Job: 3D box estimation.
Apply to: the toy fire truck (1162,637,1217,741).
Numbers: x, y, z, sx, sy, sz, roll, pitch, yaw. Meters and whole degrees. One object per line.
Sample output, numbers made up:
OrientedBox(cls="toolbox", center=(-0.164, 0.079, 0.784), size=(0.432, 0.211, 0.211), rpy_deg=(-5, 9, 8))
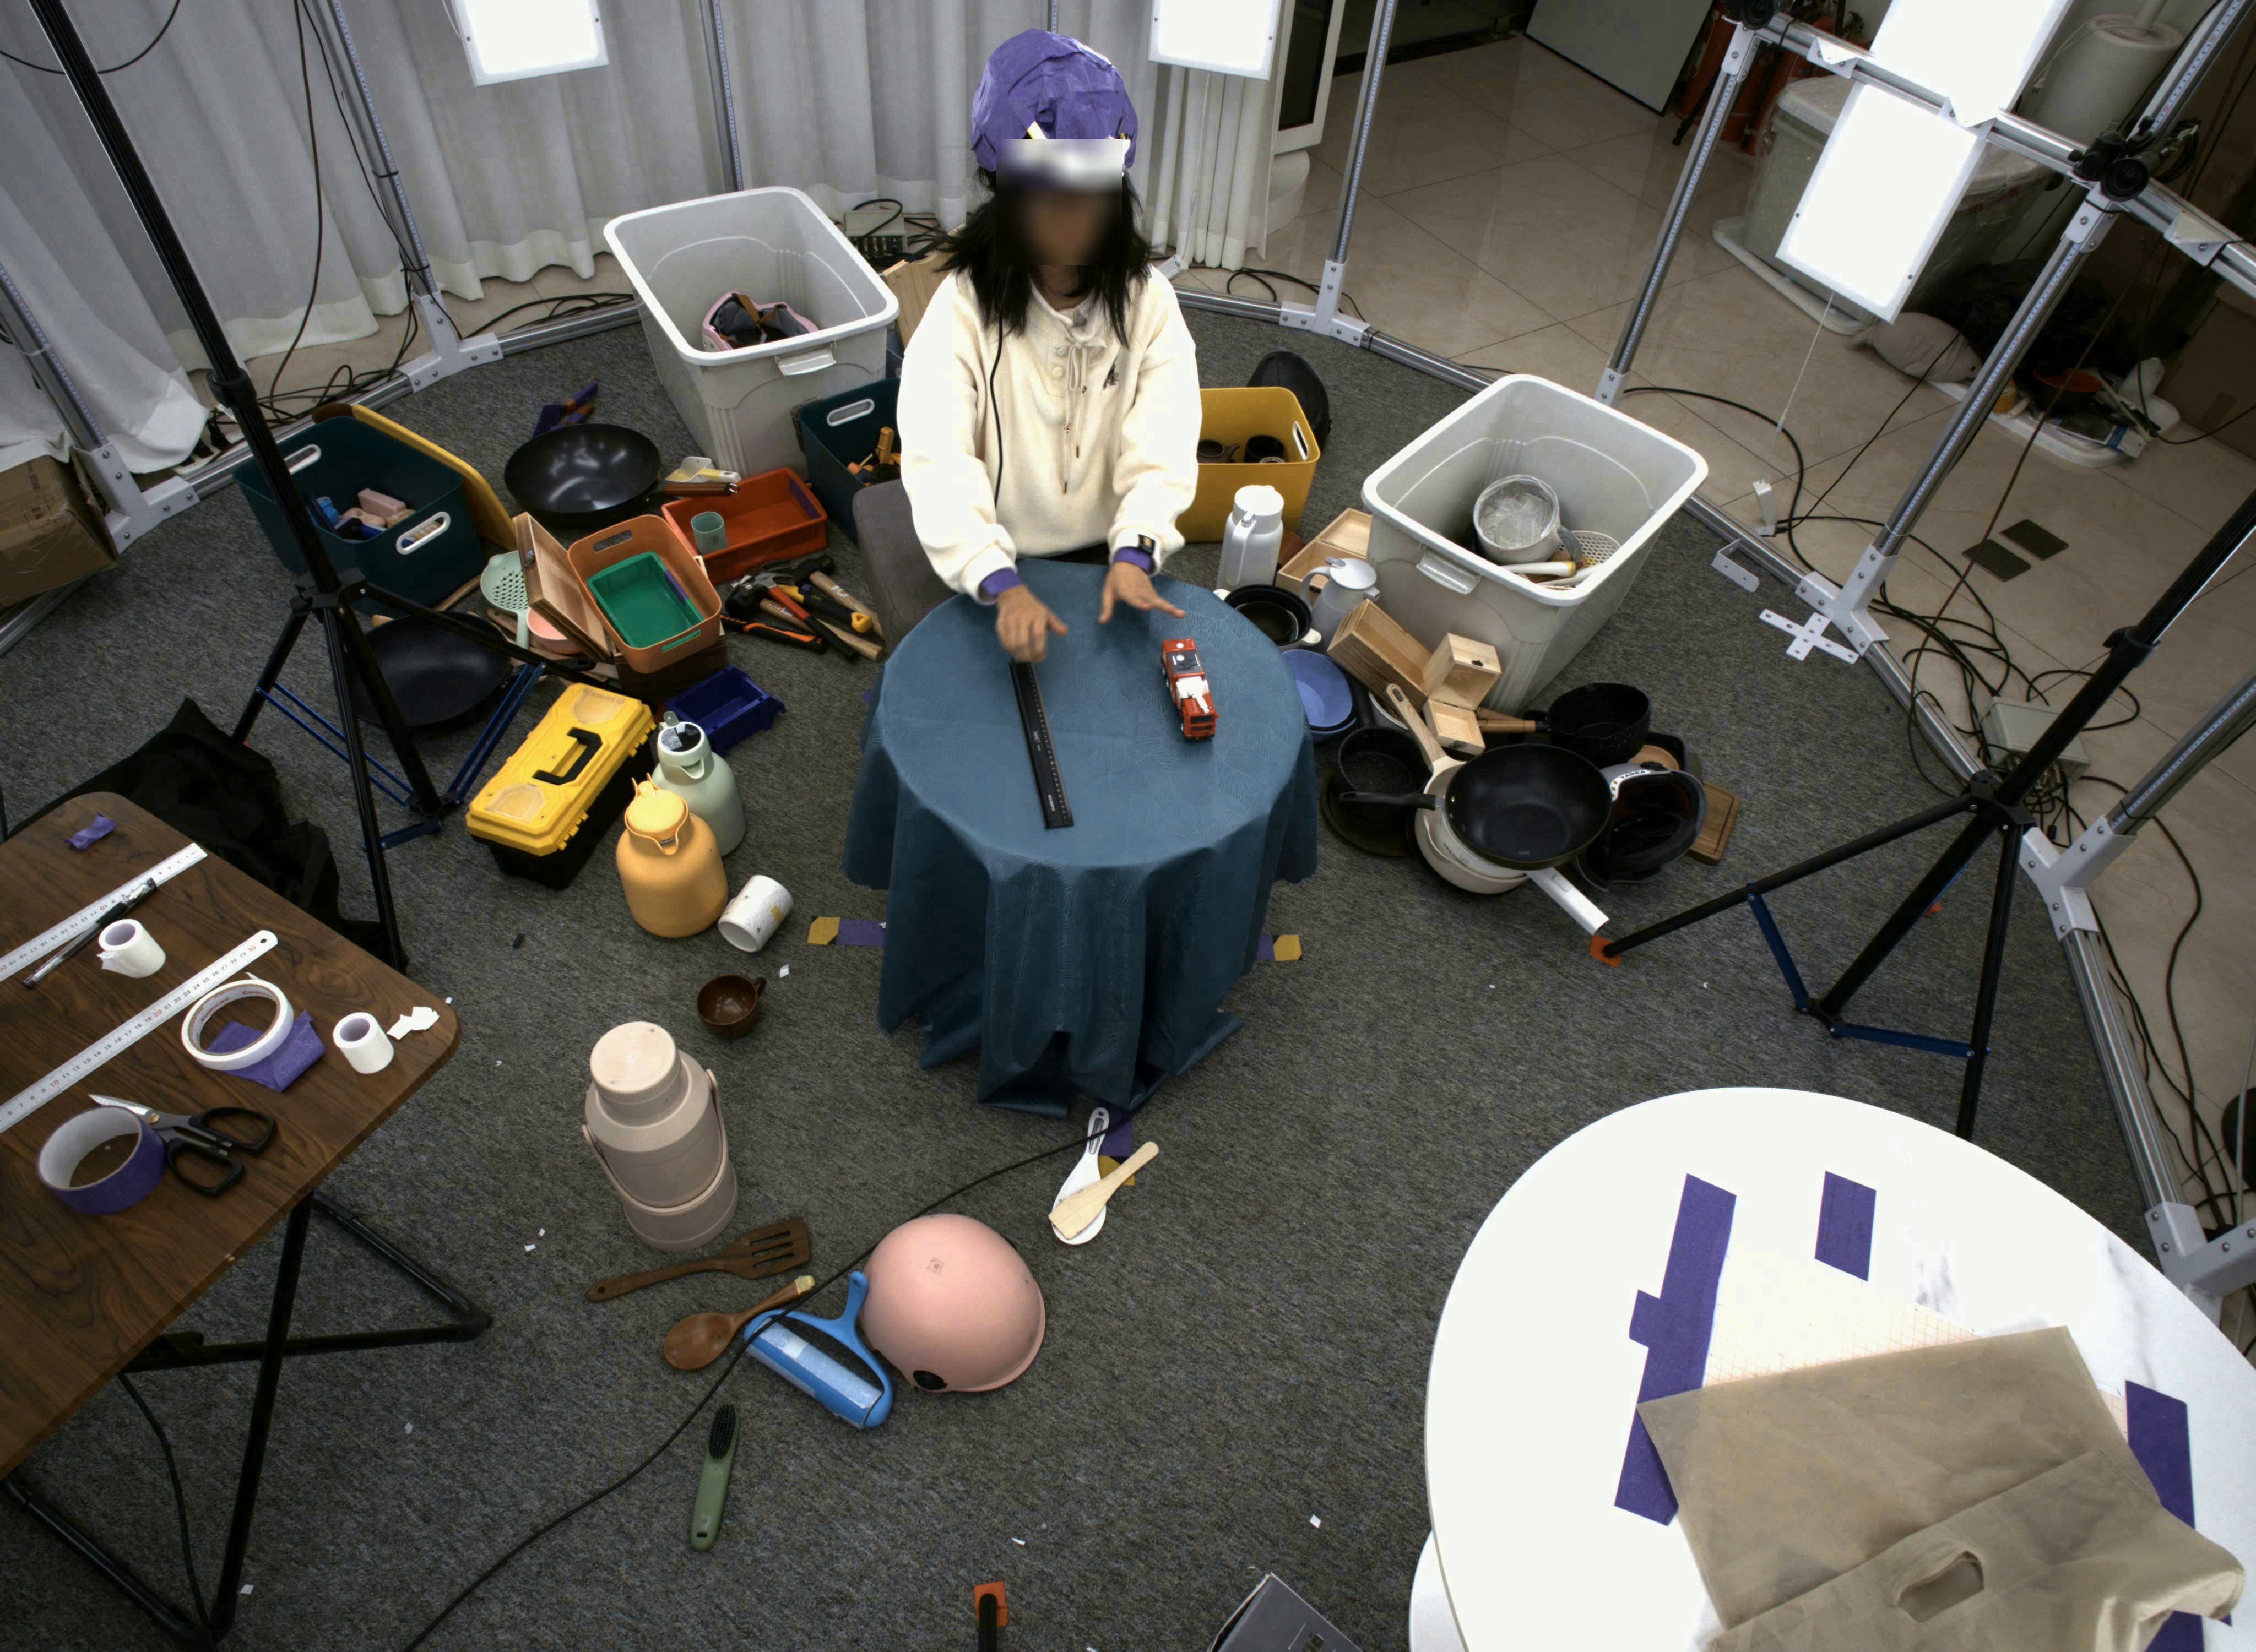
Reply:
OrientedBox(cls="toy fire truck", center=(0.086, -0.194, 1.807), size=(0.054, 0.068, 0.172), rpy_deg=(-6, 49, -9))

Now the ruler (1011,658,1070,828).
OrientedBox(cls="ruler", center=(-0.121, -0.121, 1.757), size=(0.039, 0.017, 0.320), rpy_deg=(-4, 49, -12))
